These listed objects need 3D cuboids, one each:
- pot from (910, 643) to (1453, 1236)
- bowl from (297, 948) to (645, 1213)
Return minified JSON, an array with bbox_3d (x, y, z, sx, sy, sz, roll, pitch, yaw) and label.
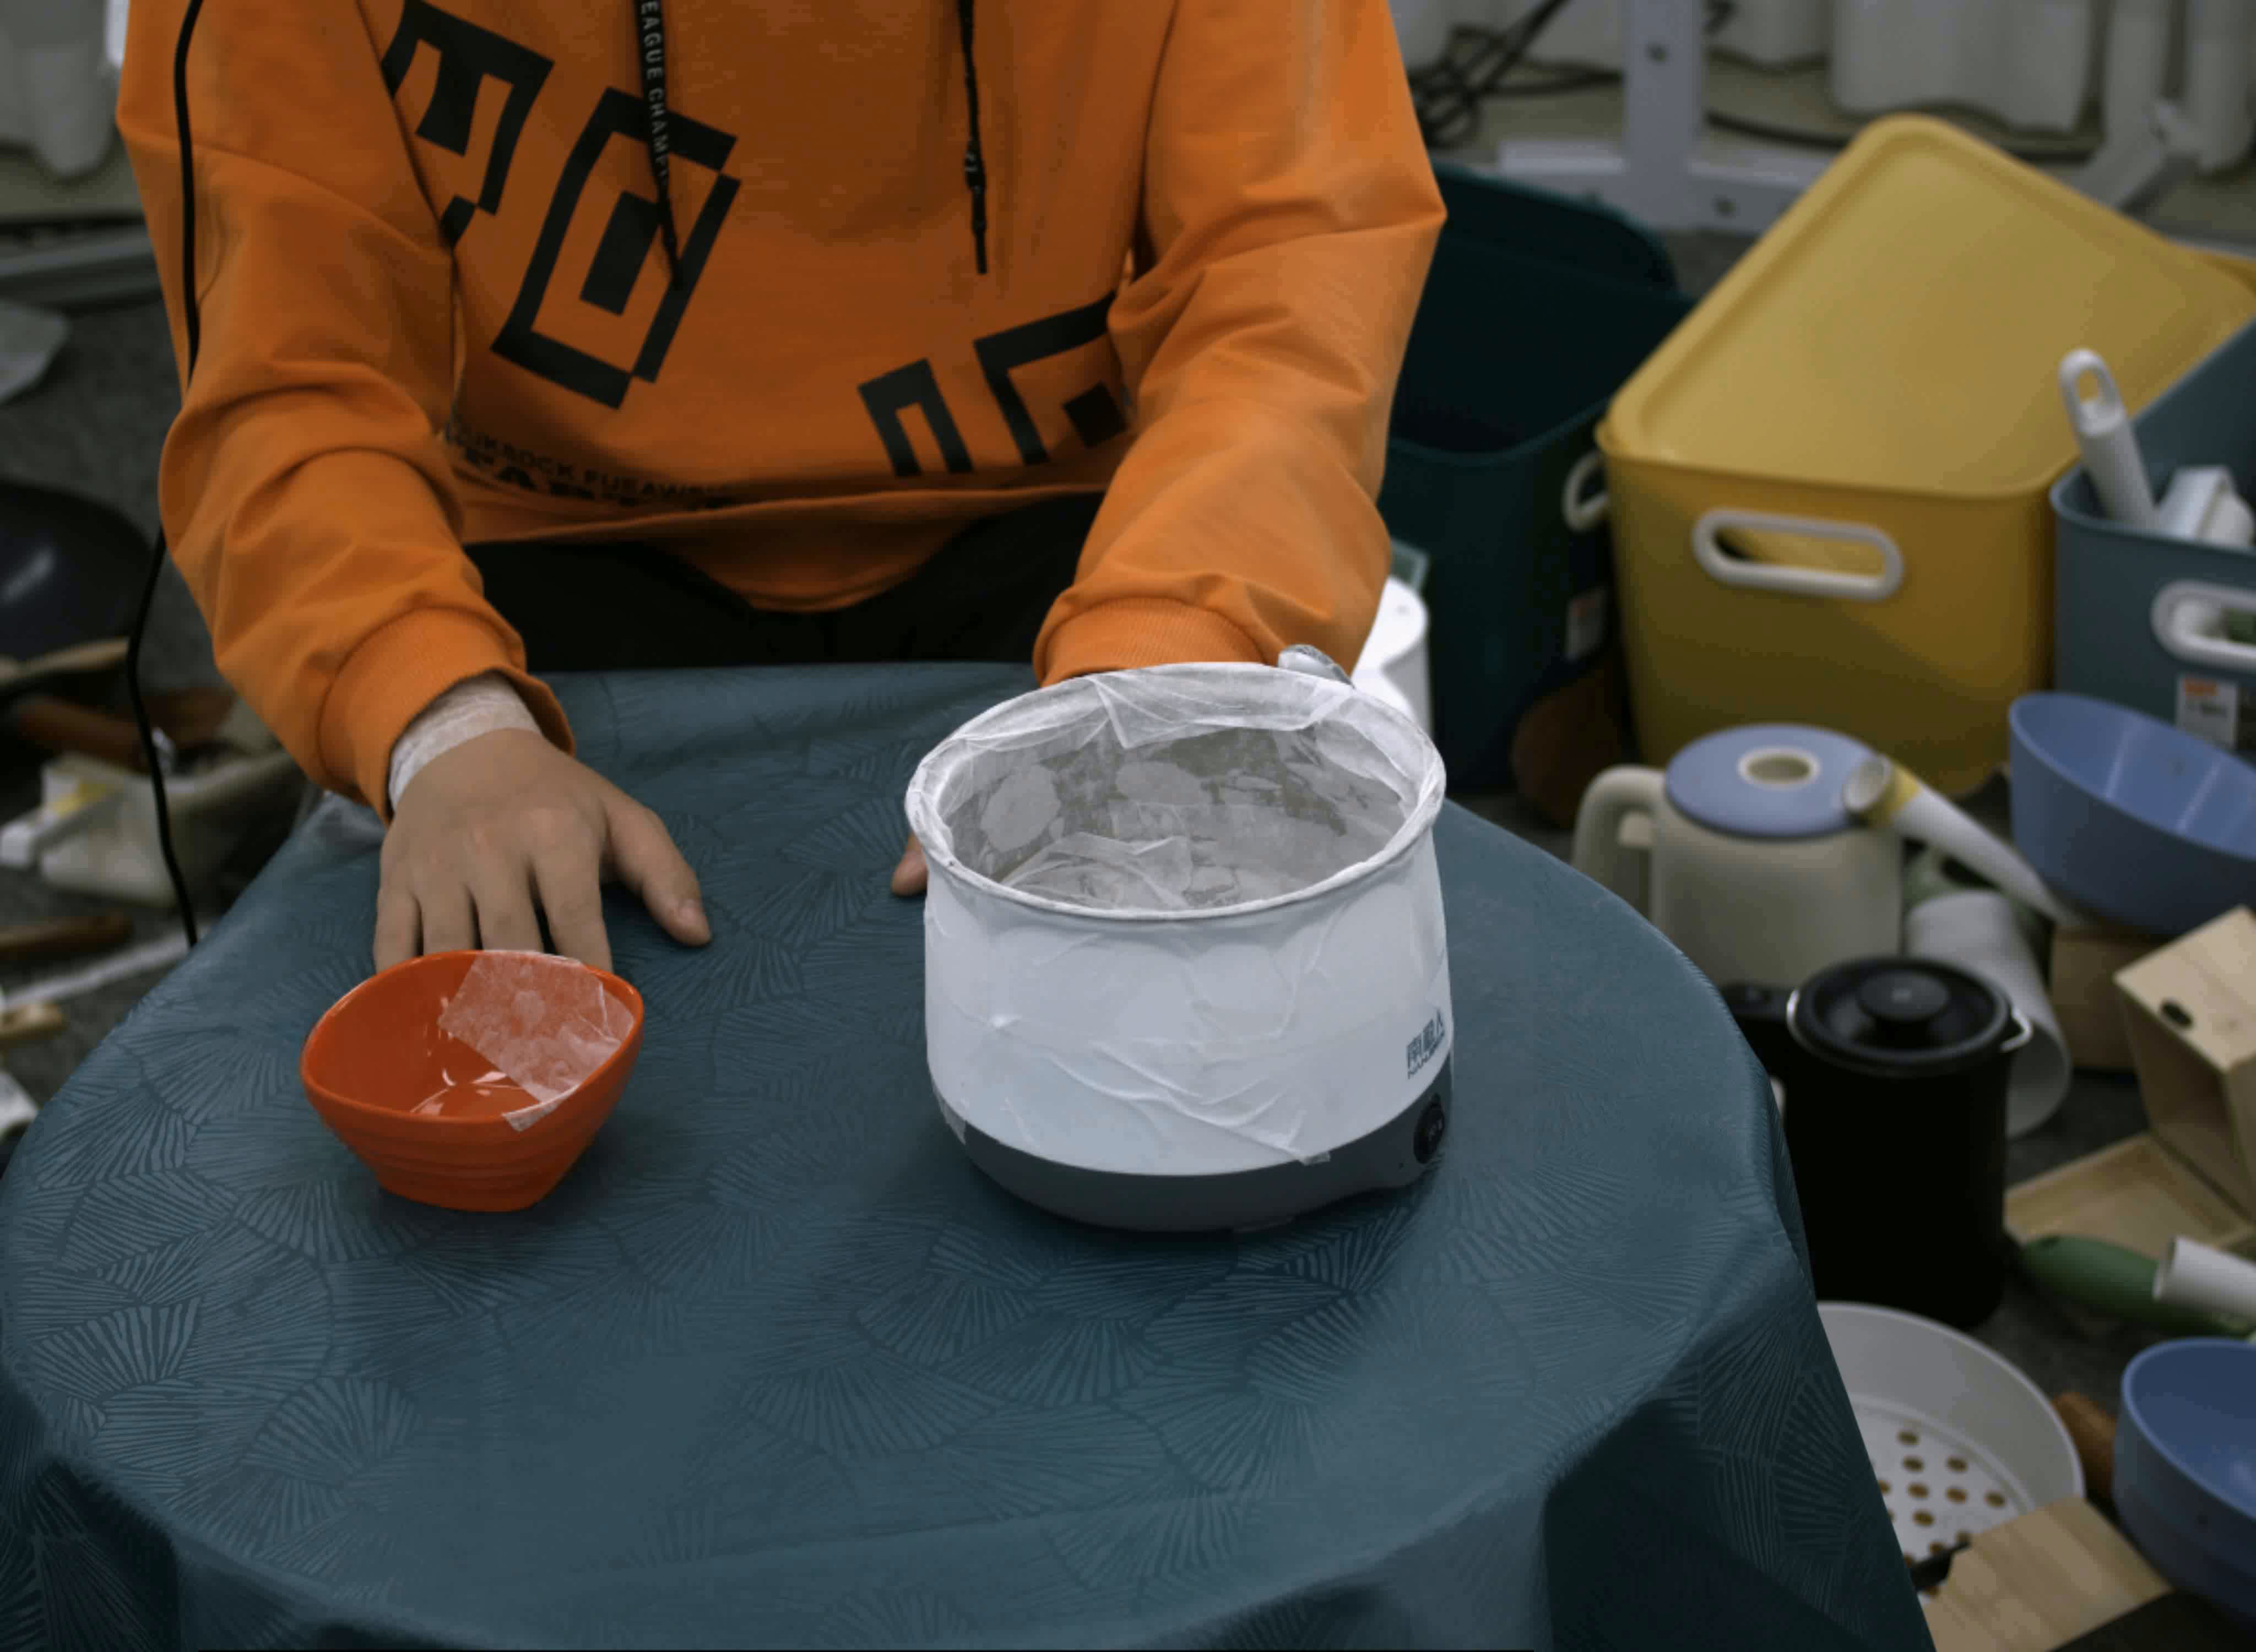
[{"bbox_3d":[0.030,0.030,1.889,0.177,0.135,0.238,10,30,22],"label":"pot"},{"bbox_3d":[-0.218,0.091,1.889,0.118,0.051,0.121,-3,28,2],"label":"bowl"}]
